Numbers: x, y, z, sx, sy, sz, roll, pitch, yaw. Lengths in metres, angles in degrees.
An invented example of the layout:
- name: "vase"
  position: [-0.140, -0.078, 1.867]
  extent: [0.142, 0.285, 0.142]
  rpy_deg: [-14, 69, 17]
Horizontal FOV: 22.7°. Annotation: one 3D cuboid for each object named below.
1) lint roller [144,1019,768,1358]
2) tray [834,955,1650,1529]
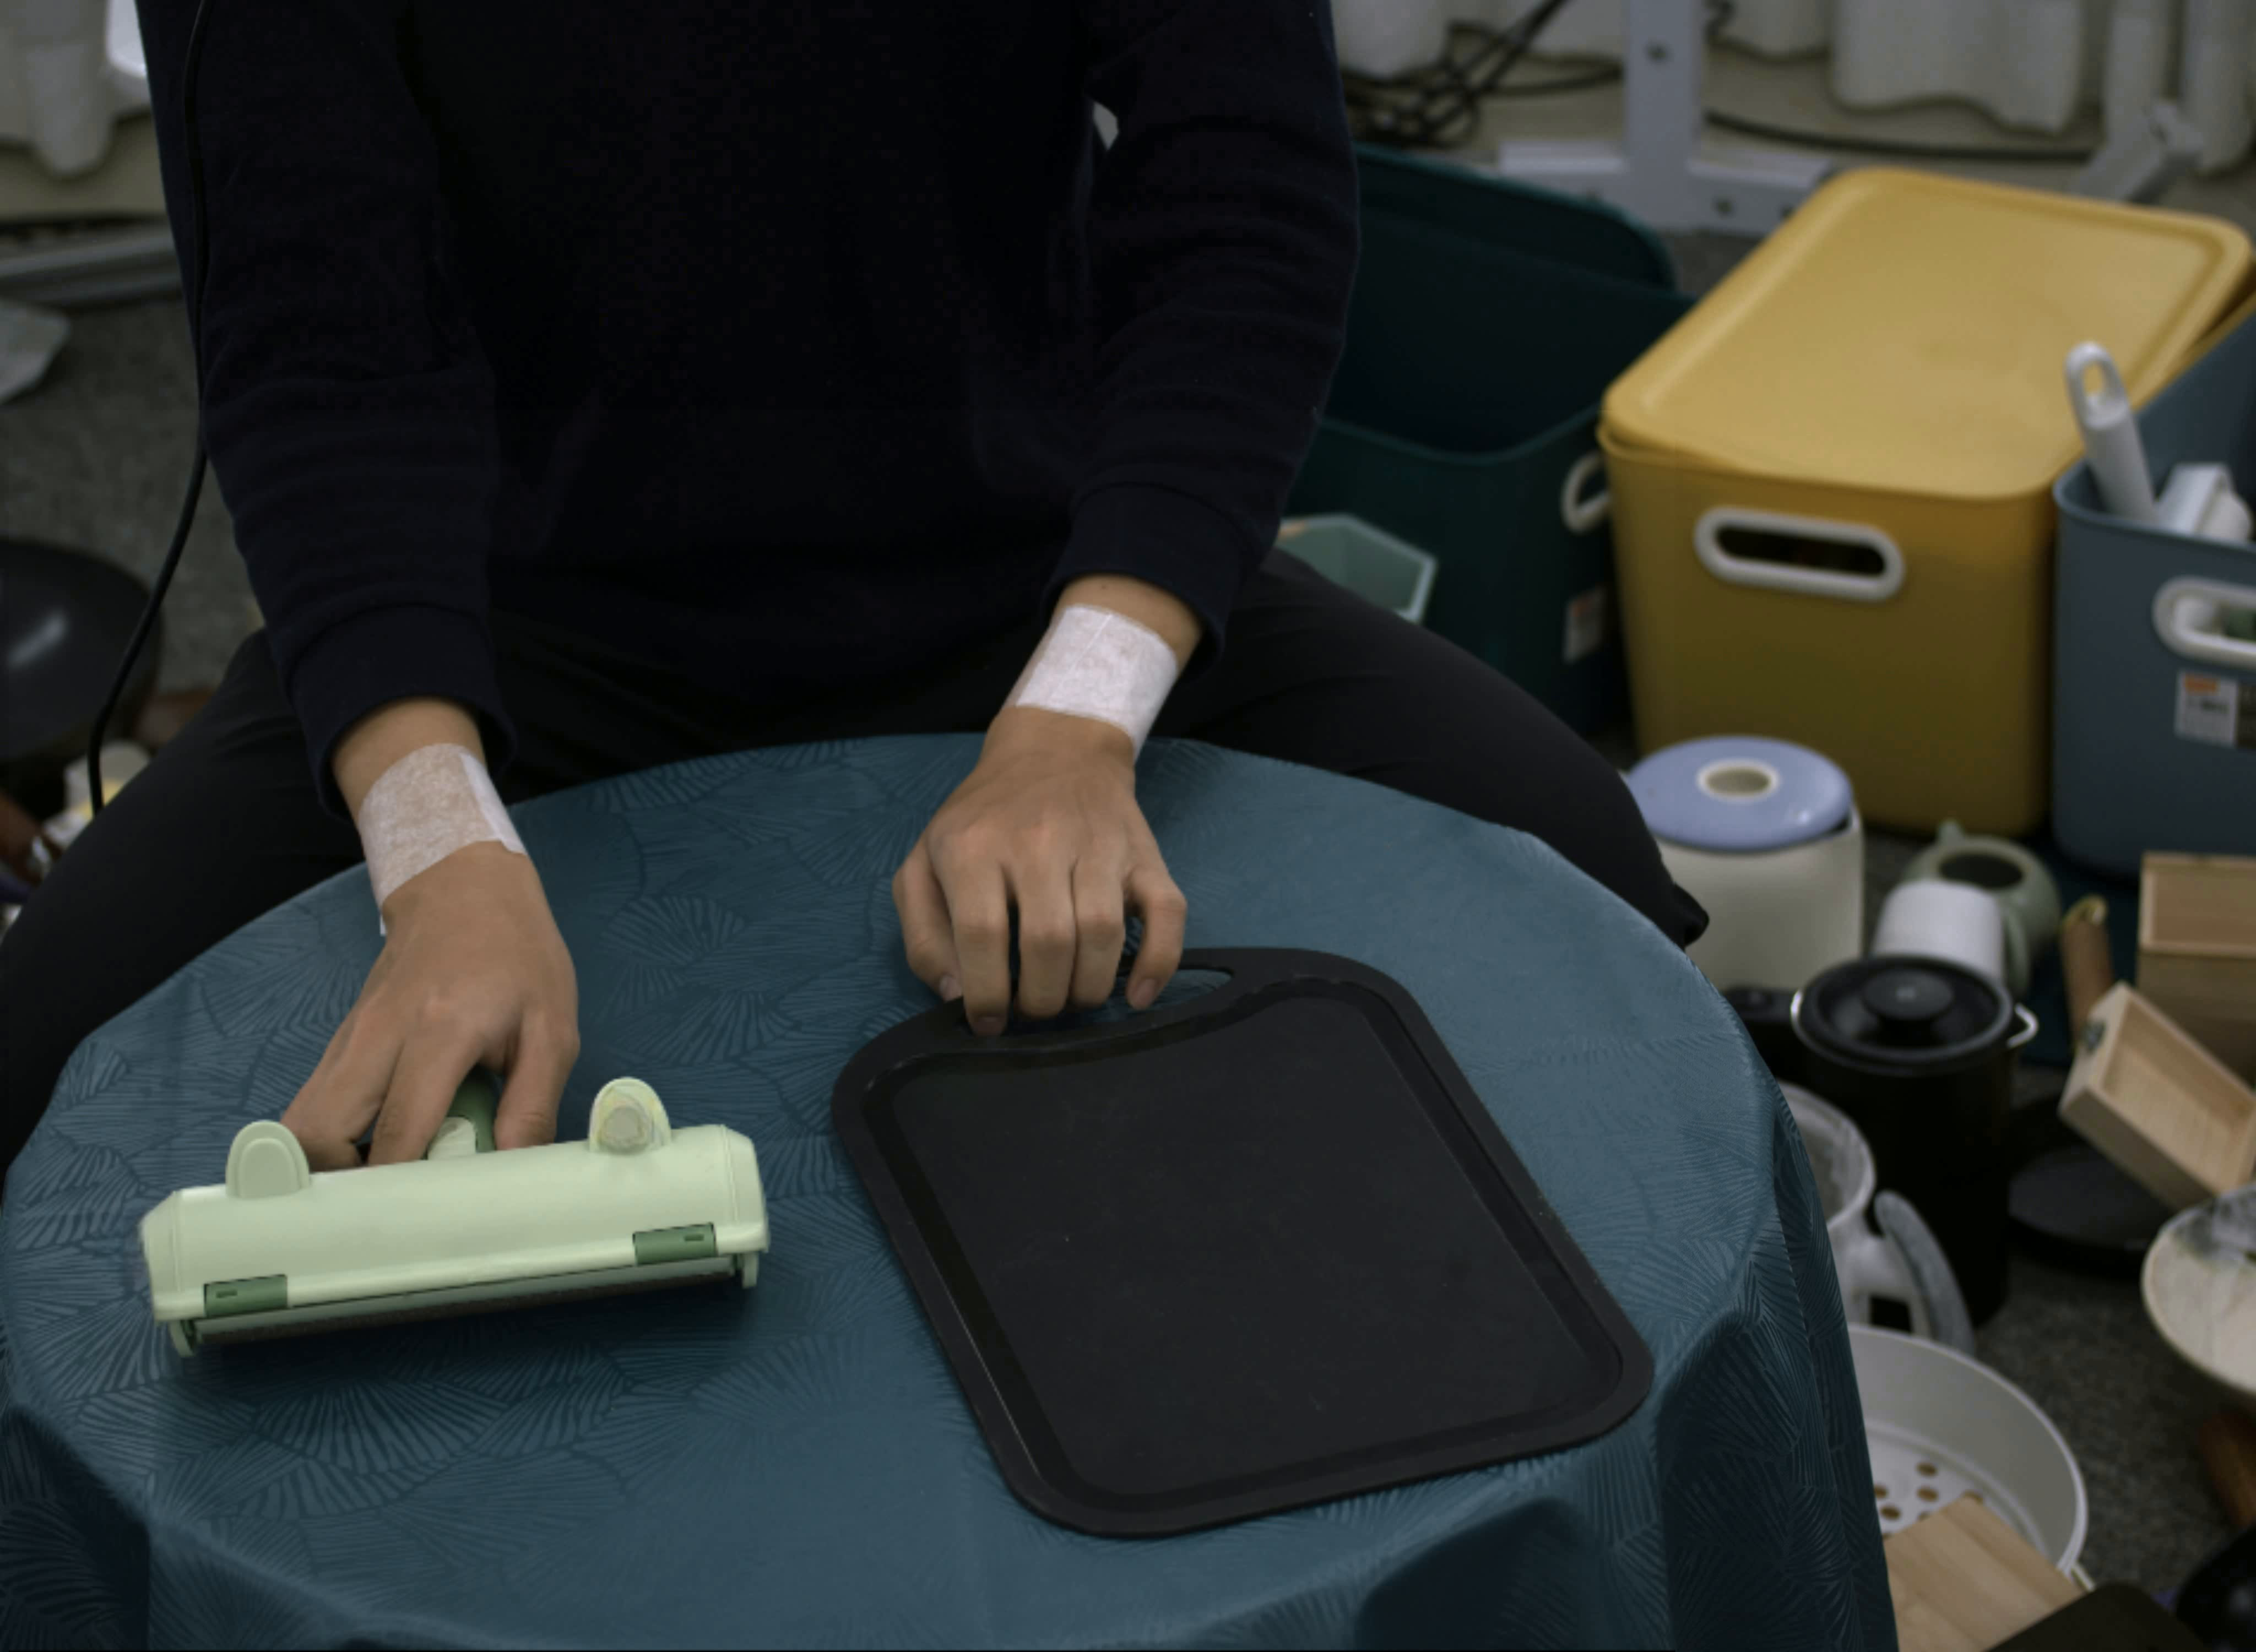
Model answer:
- name: "lint roller"
  position: [-0.224, 0.096, 1.842]
  extent: [0.198, 0.081, 0.186]
  rpy_deg: [-6, 34, -8]
- name: "tray"
  position: [0.027, 0.126, 1.838]
  extent: [0.211, 0.009, 0.329]
  rpy_deg: [-10, 30, -13]
